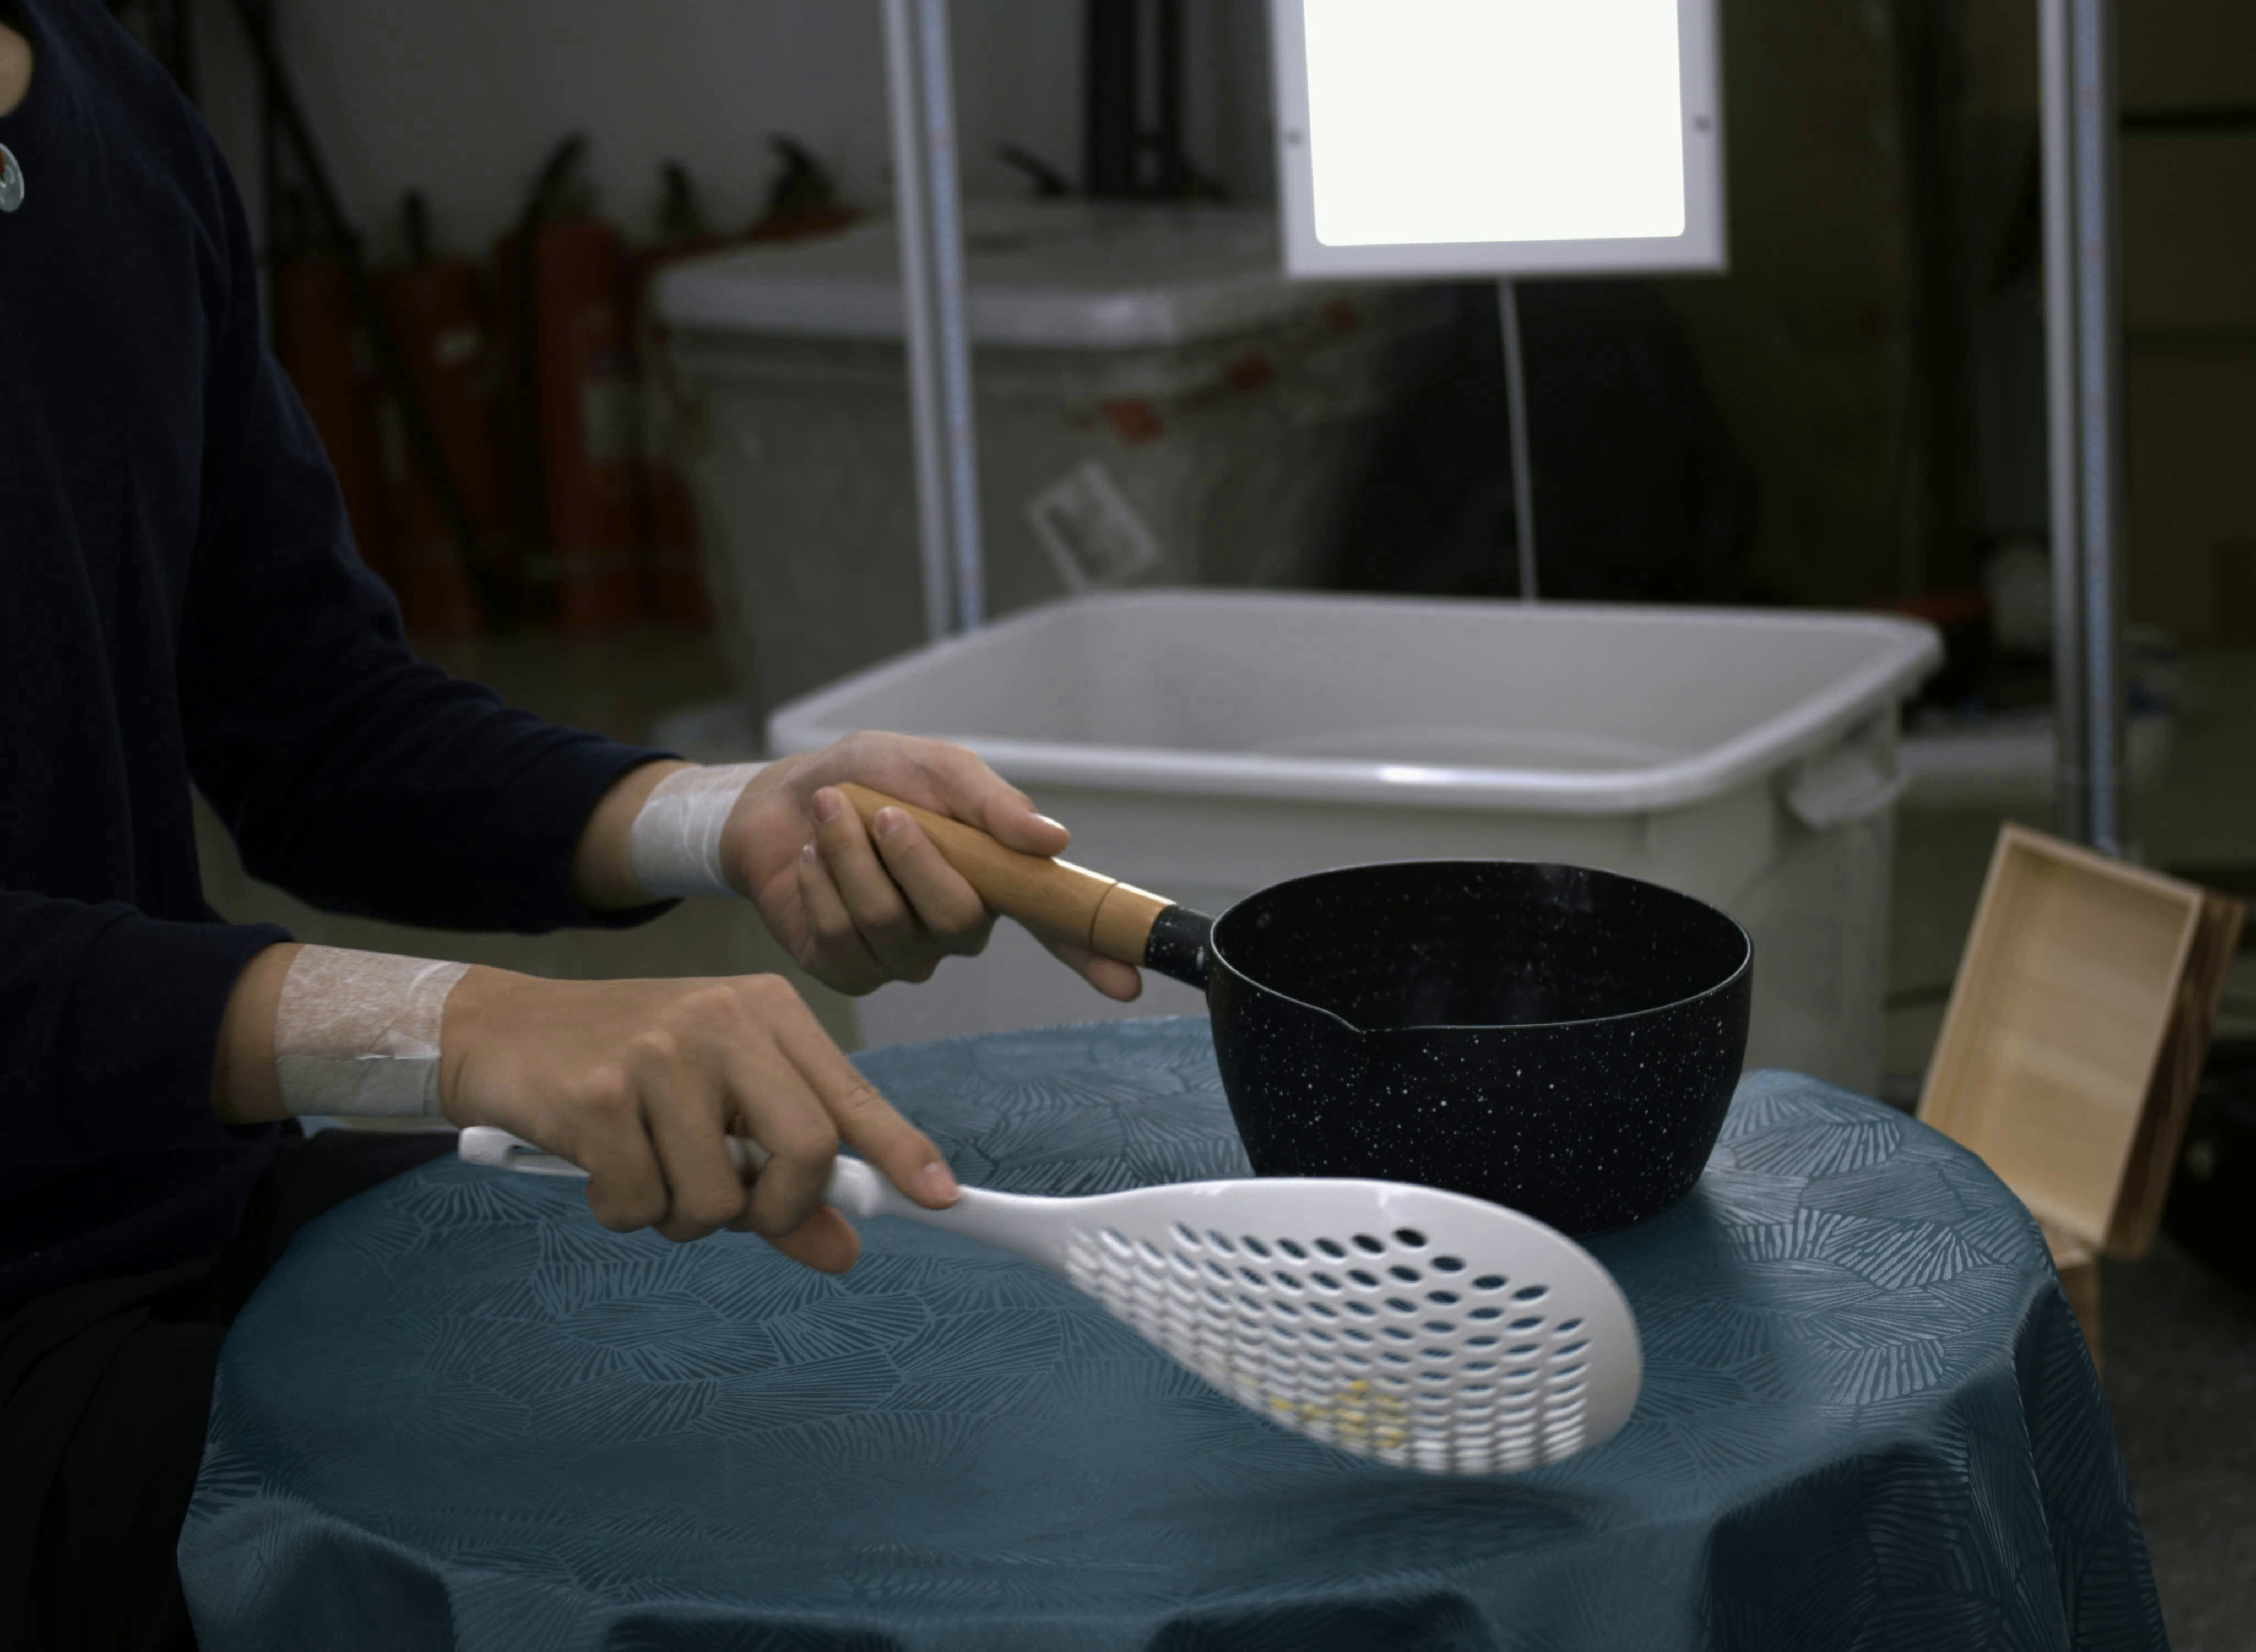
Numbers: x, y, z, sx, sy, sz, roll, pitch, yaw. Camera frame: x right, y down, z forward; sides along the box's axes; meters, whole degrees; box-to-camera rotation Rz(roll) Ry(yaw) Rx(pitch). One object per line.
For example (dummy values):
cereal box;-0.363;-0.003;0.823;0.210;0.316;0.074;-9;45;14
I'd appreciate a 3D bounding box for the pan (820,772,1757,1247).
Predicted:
pan;0.046;0.057;1.886;0.348;0.109;0.203;8;20;24

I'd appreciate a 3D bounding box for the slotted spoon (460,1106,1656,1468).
slotted spoon;-0.022;0.121;1.572;0.350;0.137;0.050;16;57;14
